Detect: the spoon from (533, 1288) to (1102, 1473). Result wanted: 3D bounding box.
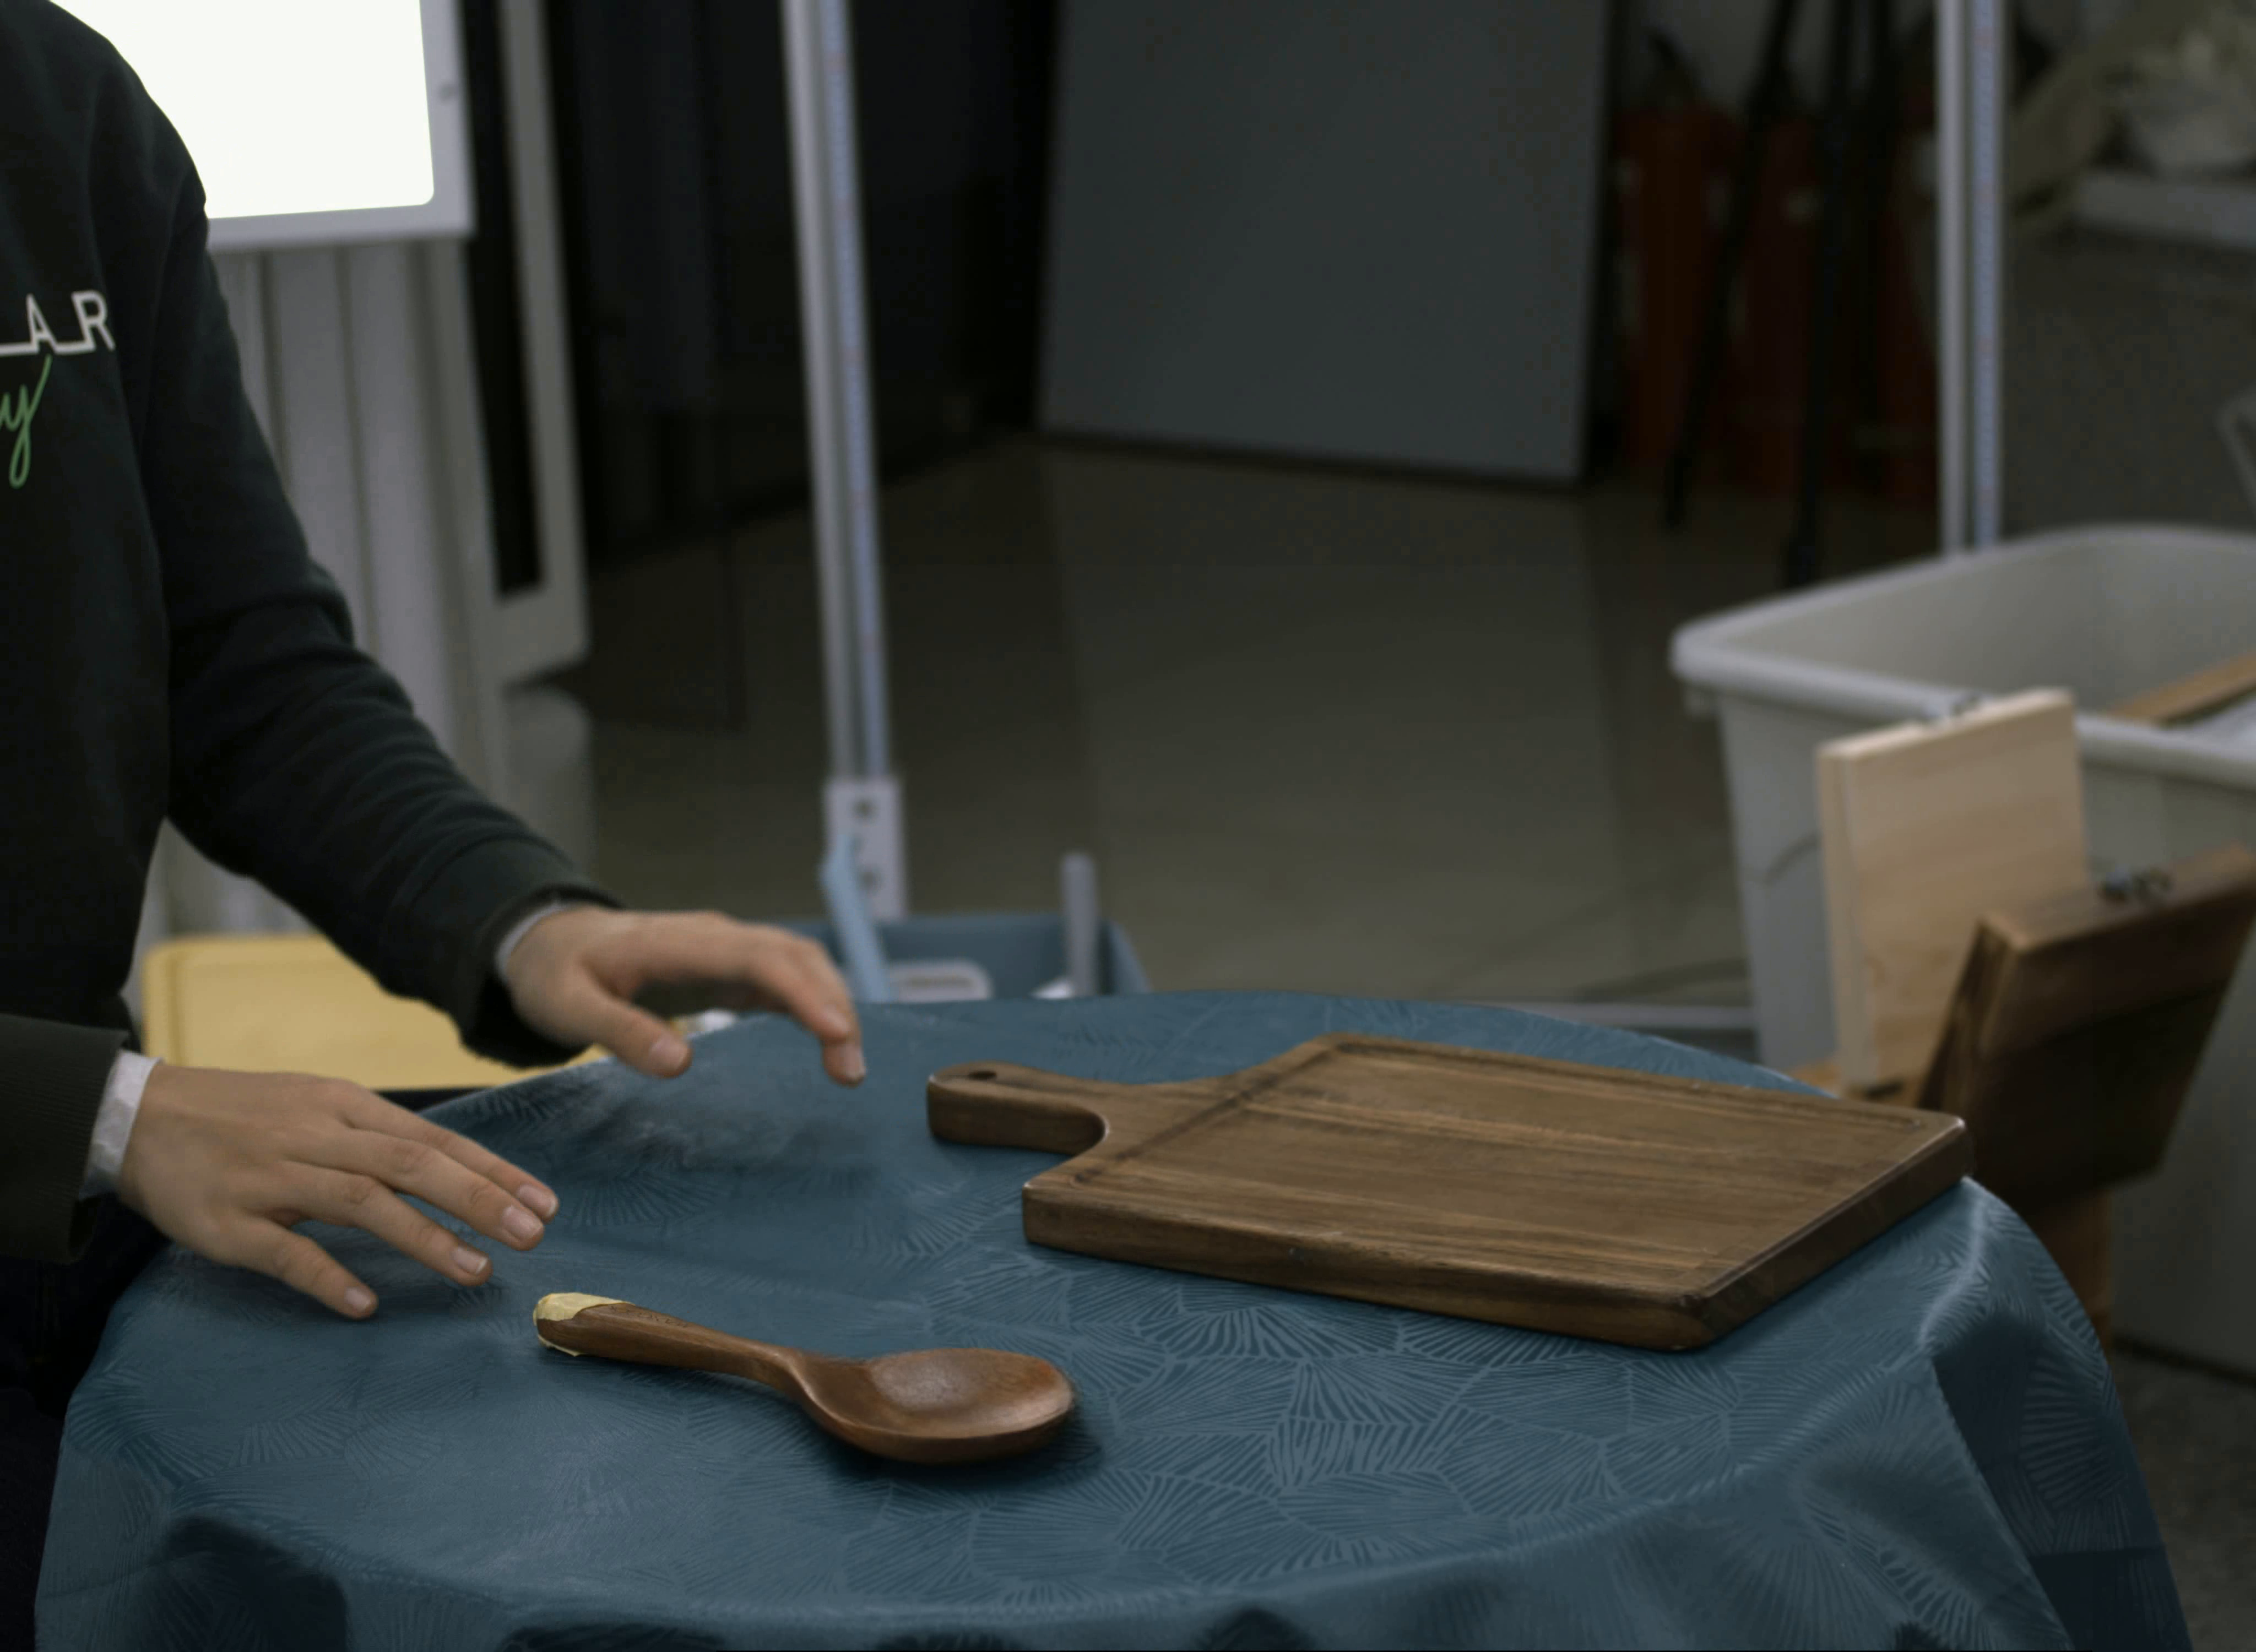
[{"bbox_3d":[-0.097,0.162,1.595,0.217,0.017,0.074,9,21,41],"label":"spoon"}]

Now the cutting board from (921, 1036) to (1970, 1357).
[{"bbox_3d":[0.079,0.110,1.754,0.354,0.023,0.197,6,18,35],"label":"cutting board"}]
